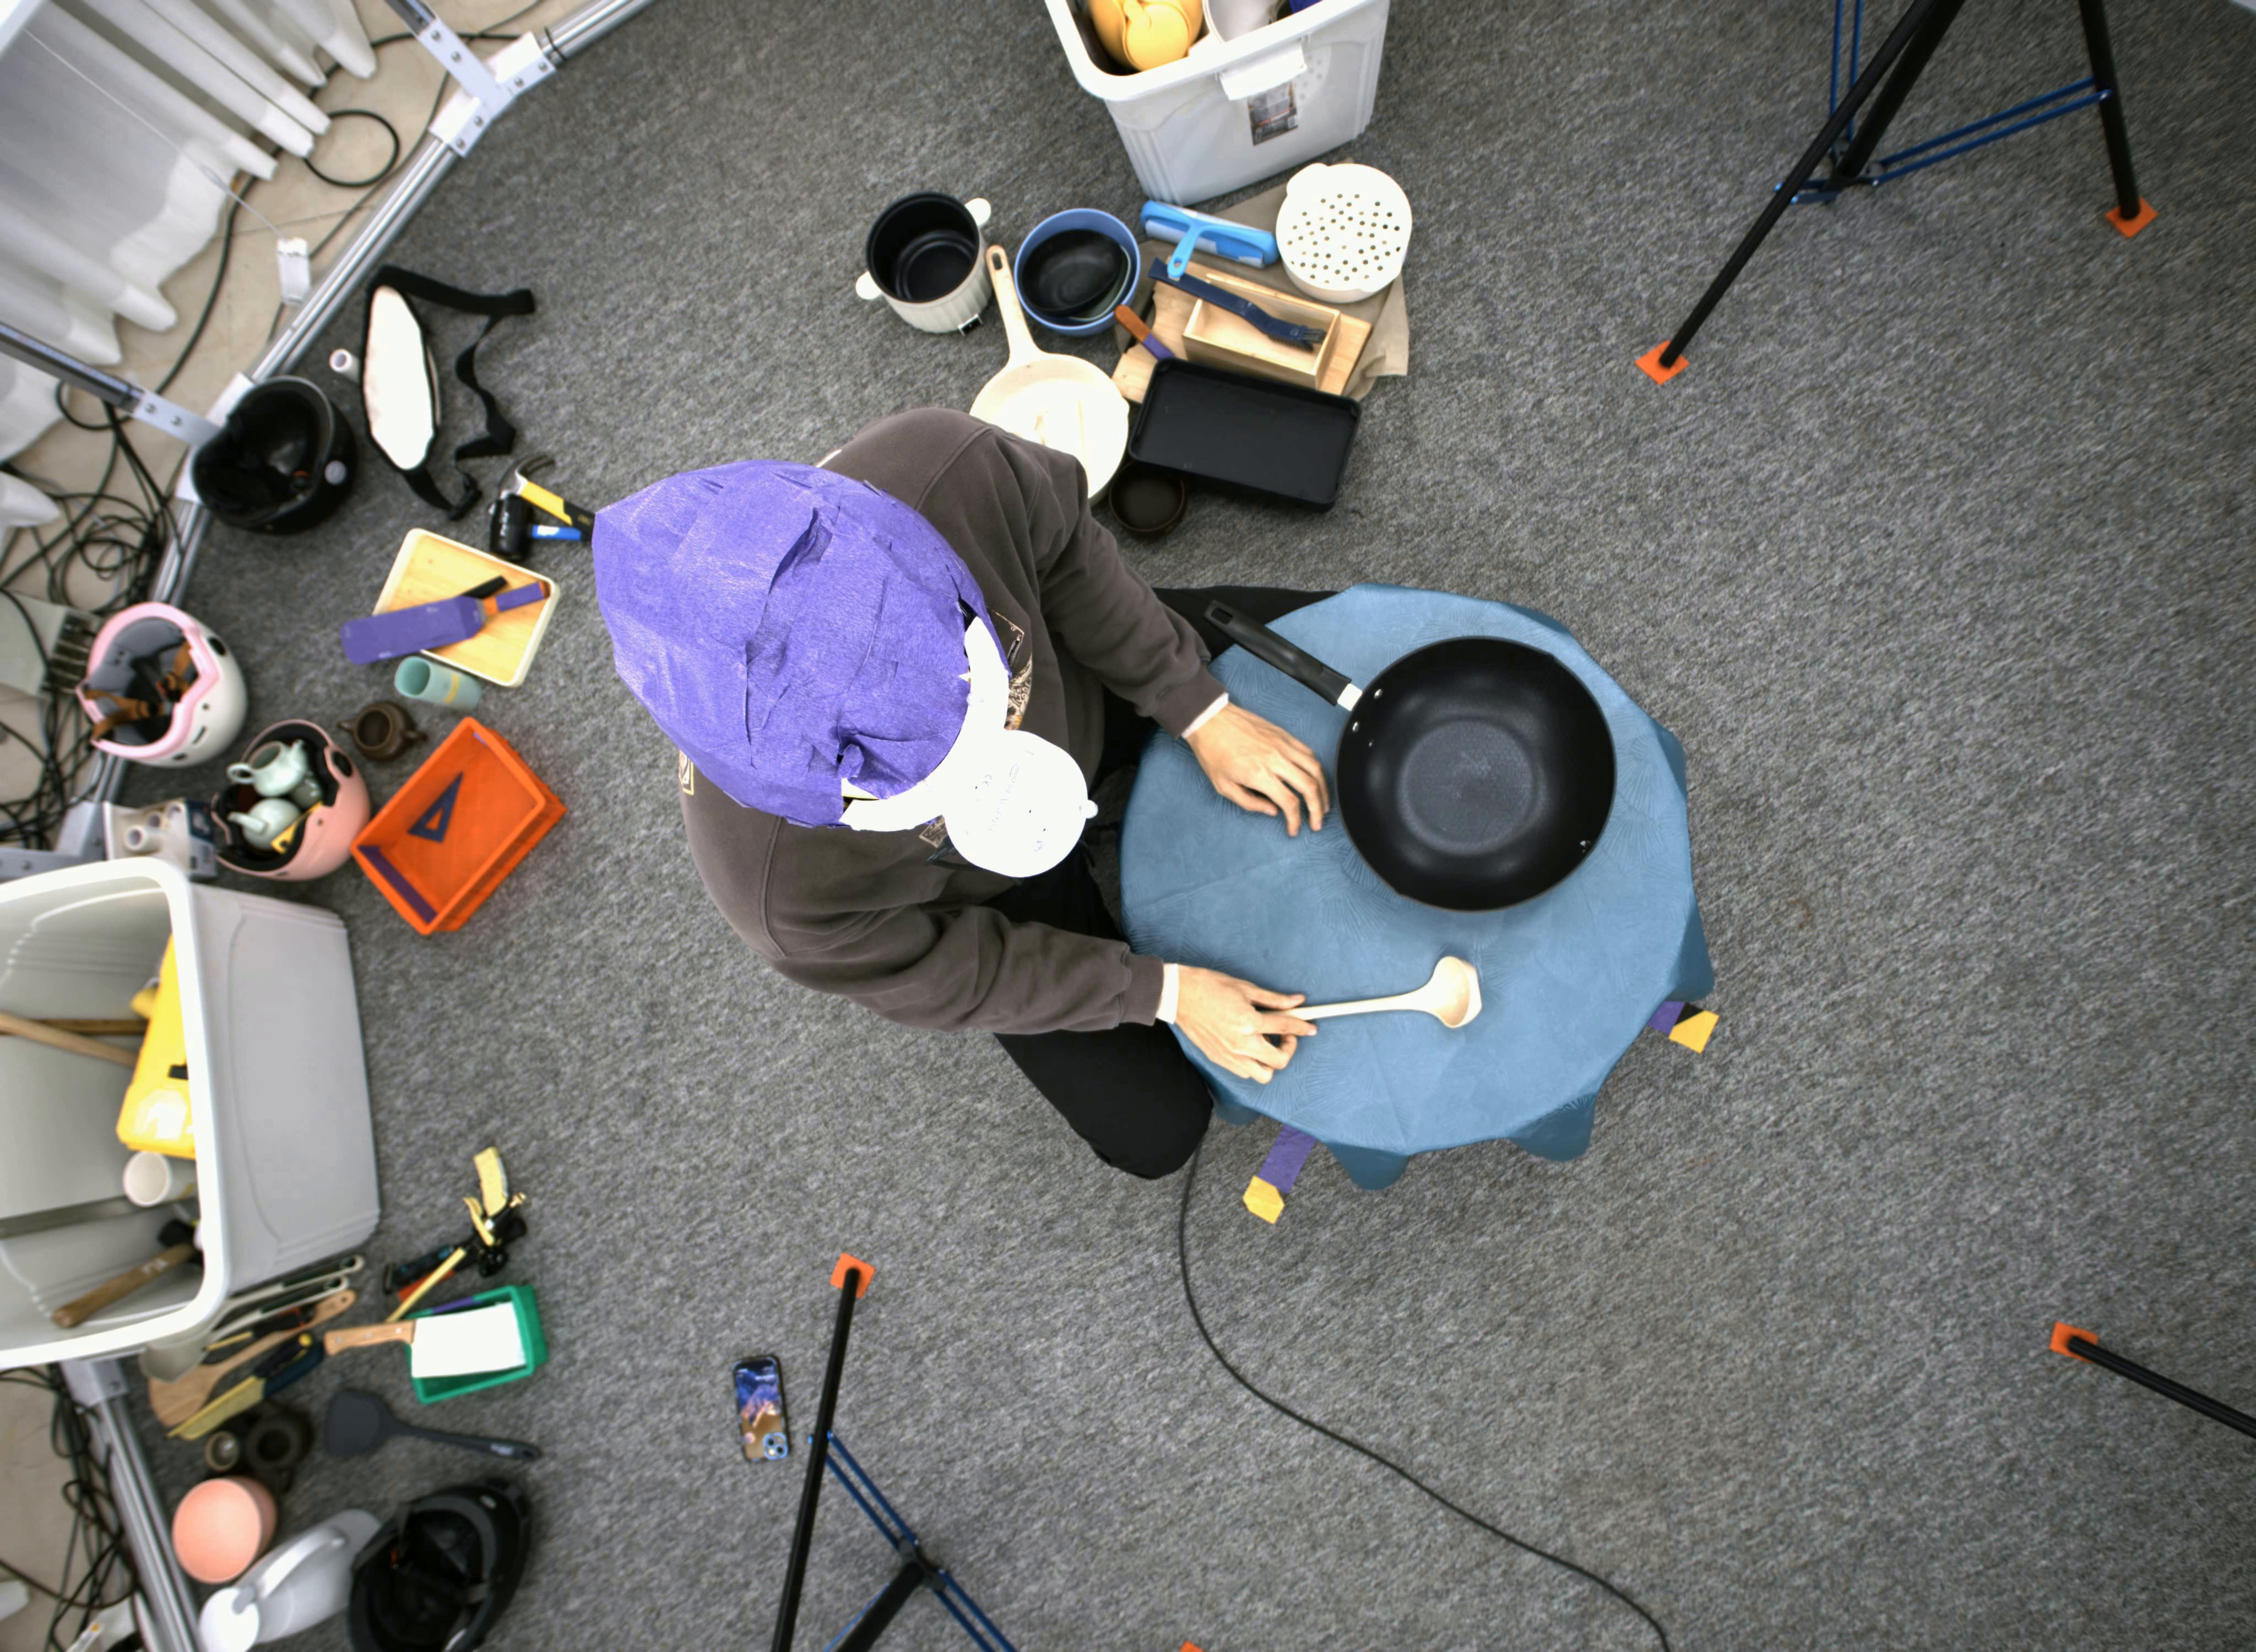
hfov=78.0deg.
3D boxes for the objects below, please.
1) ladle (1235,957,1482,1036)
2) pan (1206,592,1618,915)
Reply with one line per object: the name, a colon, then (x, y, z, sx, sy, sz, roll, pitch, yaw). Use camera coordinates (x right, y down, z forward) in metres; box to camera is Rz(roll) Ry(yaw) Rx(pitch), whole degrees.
ladle: (0.234, 0.185, 1.419, 0.255, 0.073, 0.071, -10, 79, 7)
pan: (0.276, -0.099, 1.422, 0.462, 0.087, 0.289, 34, 94, 11)
